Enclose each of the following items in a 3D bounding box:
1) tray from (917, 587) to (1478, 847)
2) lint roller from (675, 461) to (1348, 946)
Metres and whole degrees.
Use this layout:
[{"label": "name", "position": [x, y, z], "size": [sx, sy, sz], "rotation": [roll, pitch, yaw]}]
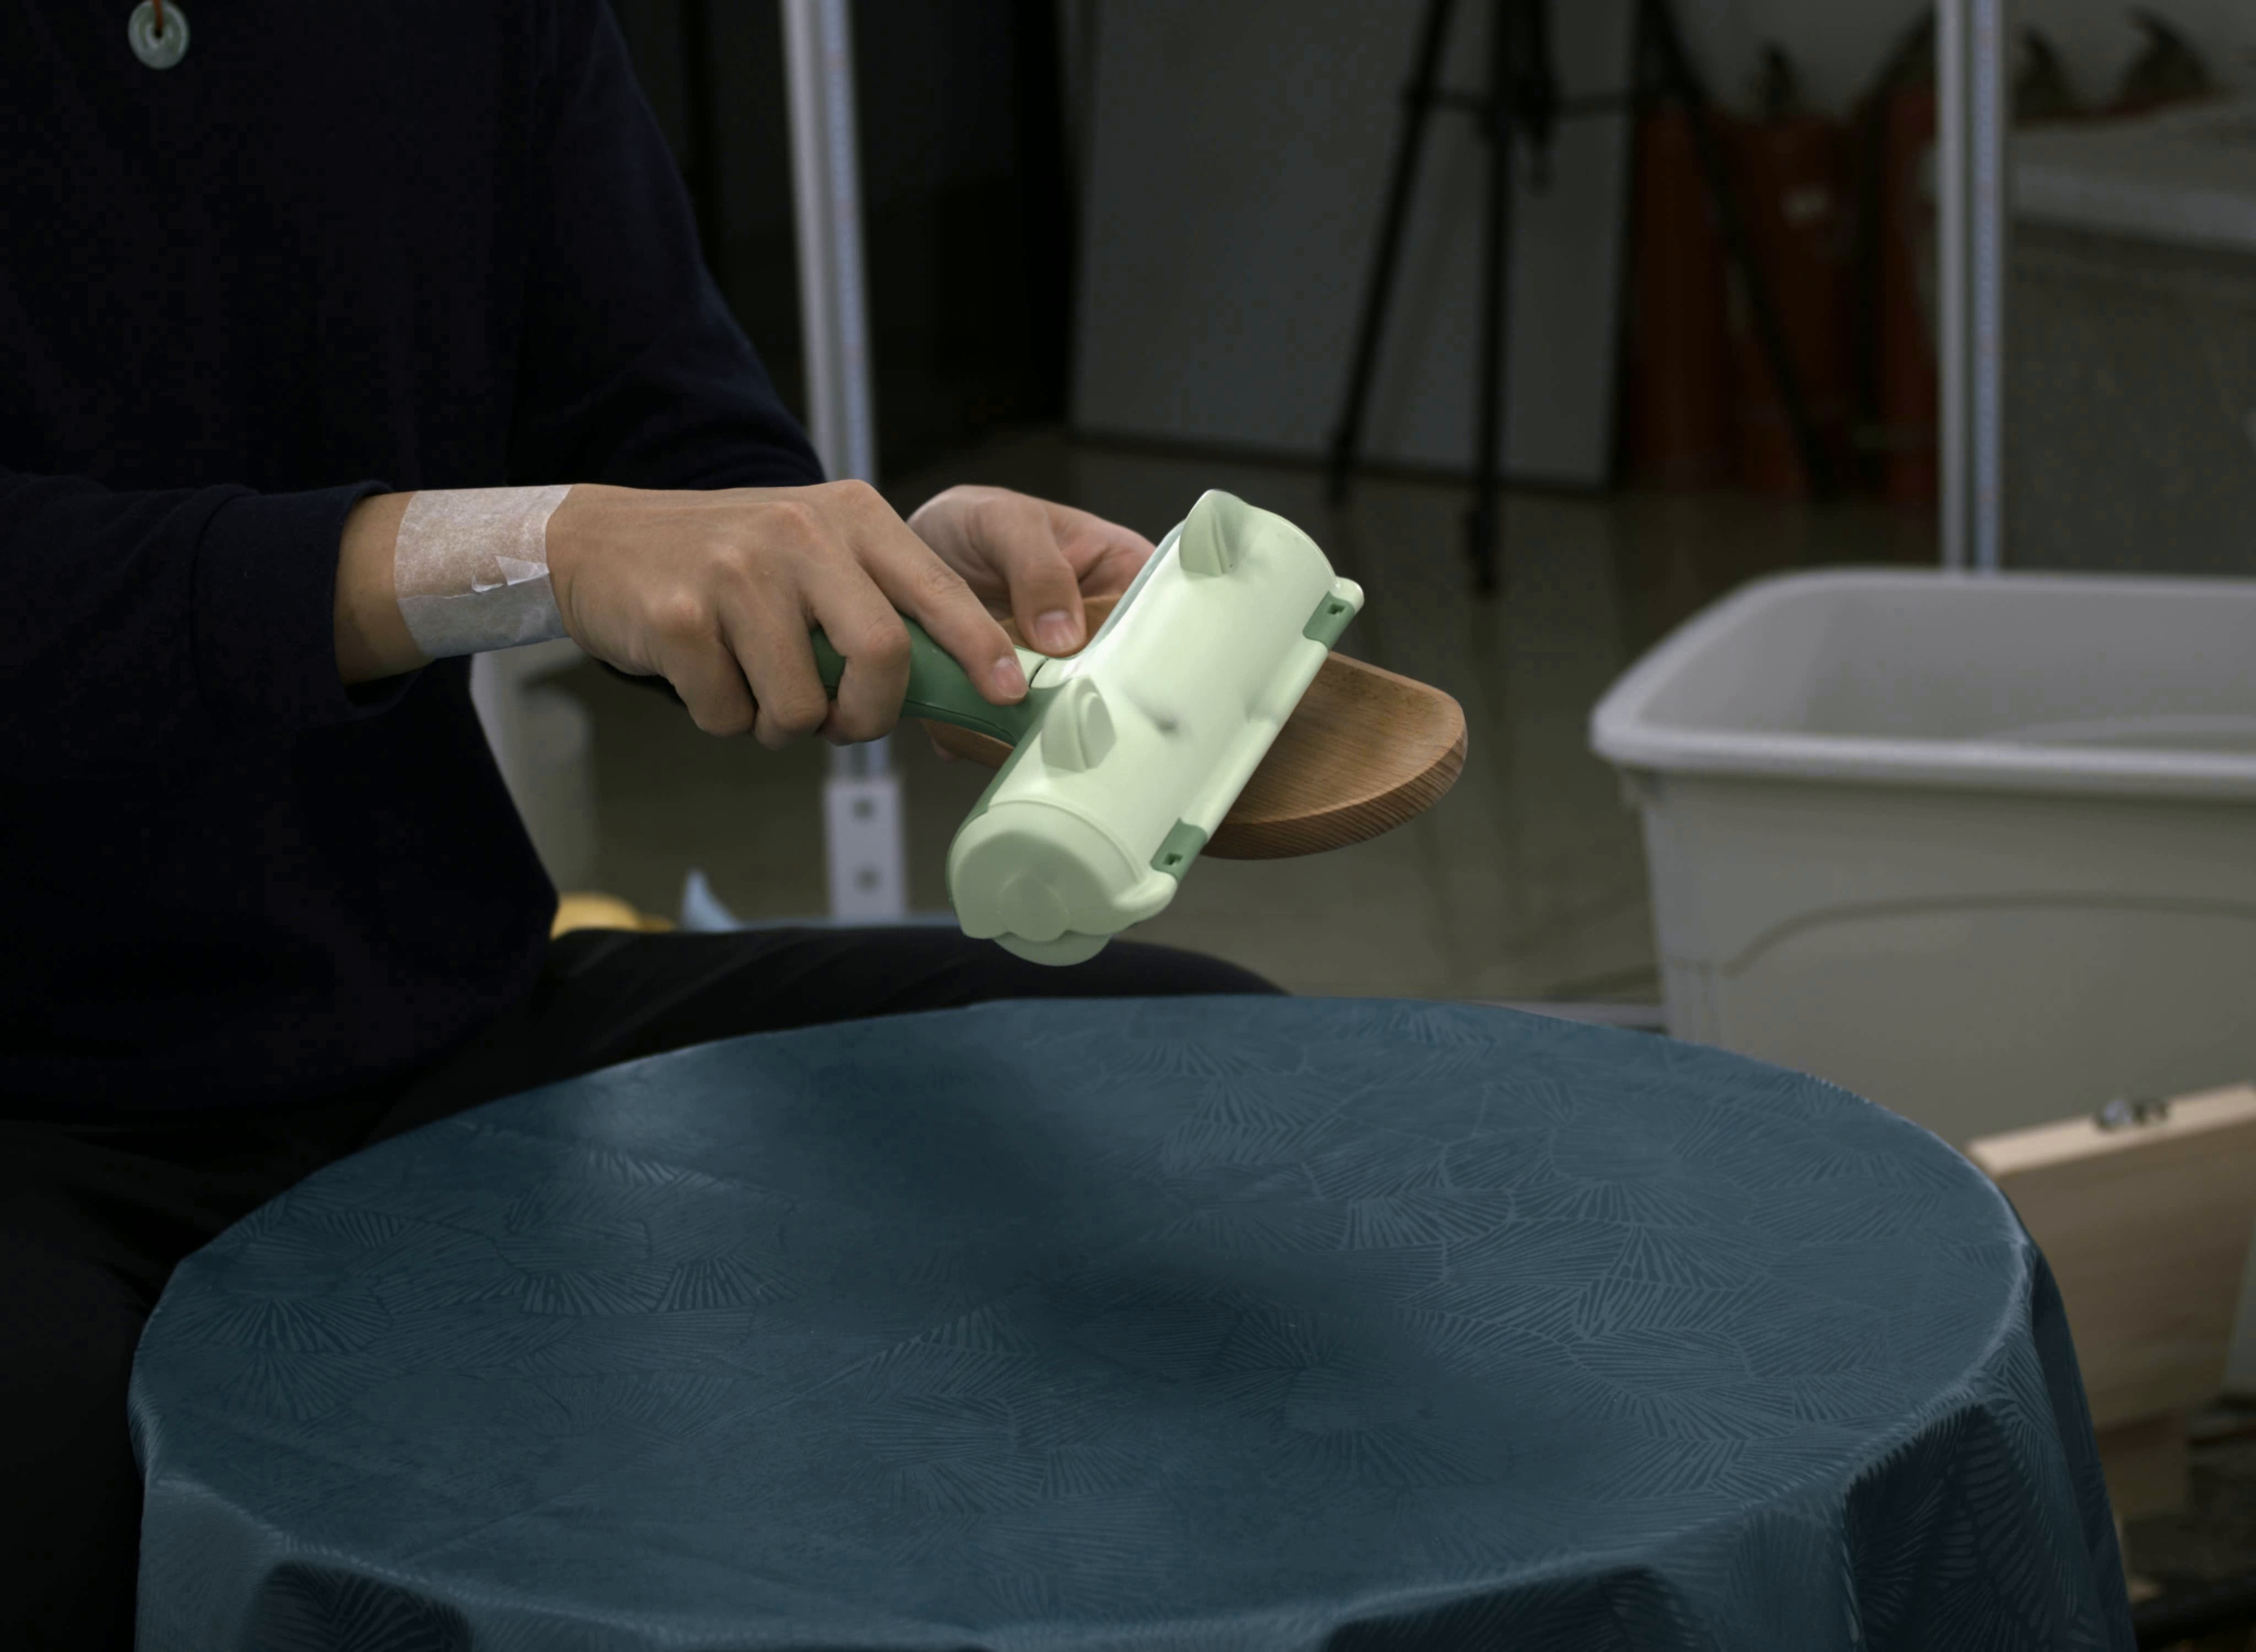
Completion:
[{"label": "tray", "position": [0.019, -0.035, 1.653], "size": [0.100, 0.020, 0.234], "rotation": [-27, 27, -25]}, {"label": "lint roller", "position": [-0.044, -0.063, 1.581], "size": [0.182, 0.083, 0.197], "rotation": [24, 36, 8]}]
